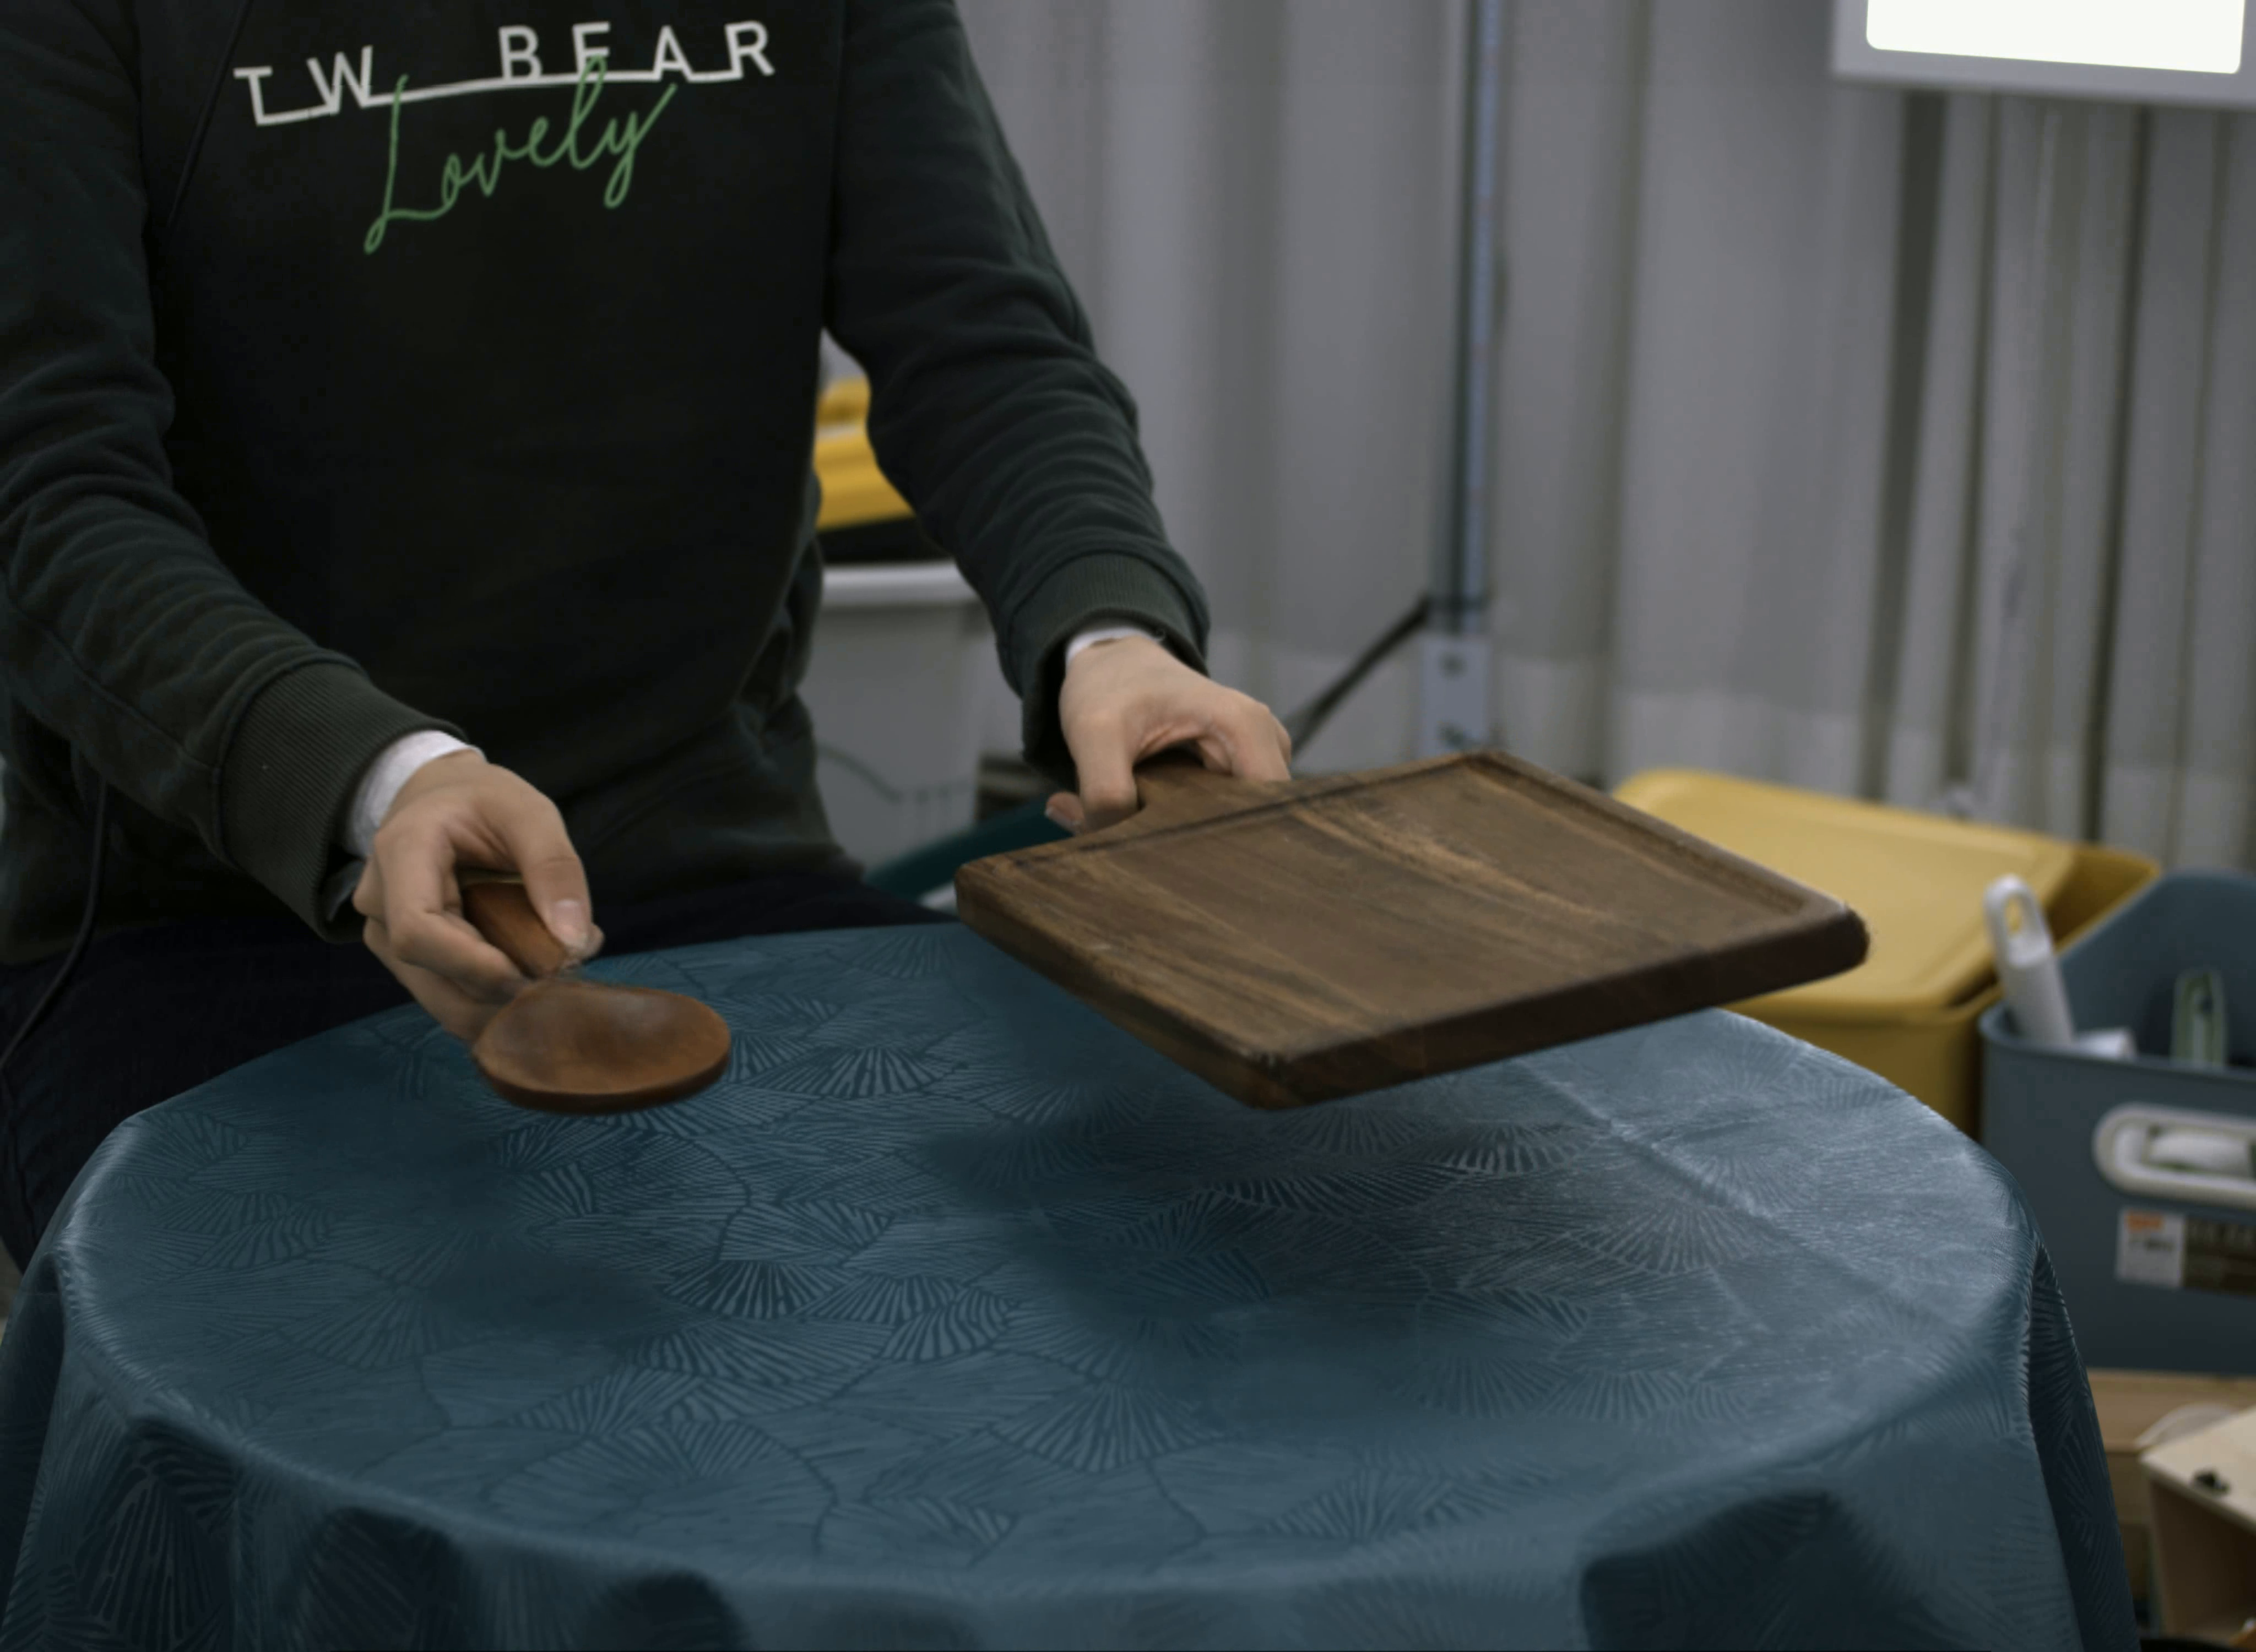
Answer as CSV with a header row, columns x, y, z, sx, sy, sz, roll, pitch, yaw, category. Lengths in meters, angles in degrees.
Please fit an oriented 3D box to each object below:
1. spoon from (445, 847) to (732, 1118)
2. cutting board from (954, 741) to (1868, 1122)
x,y,z,sx,sy,sz,roll,pitch,yaw,category
-0.173,0.047,1.584,0.075,0.017,0.213,-11,22,-16,spoon
0.062,0.017,1.649,0.201,0.023,0.348,-14,17,-20,cutting board
